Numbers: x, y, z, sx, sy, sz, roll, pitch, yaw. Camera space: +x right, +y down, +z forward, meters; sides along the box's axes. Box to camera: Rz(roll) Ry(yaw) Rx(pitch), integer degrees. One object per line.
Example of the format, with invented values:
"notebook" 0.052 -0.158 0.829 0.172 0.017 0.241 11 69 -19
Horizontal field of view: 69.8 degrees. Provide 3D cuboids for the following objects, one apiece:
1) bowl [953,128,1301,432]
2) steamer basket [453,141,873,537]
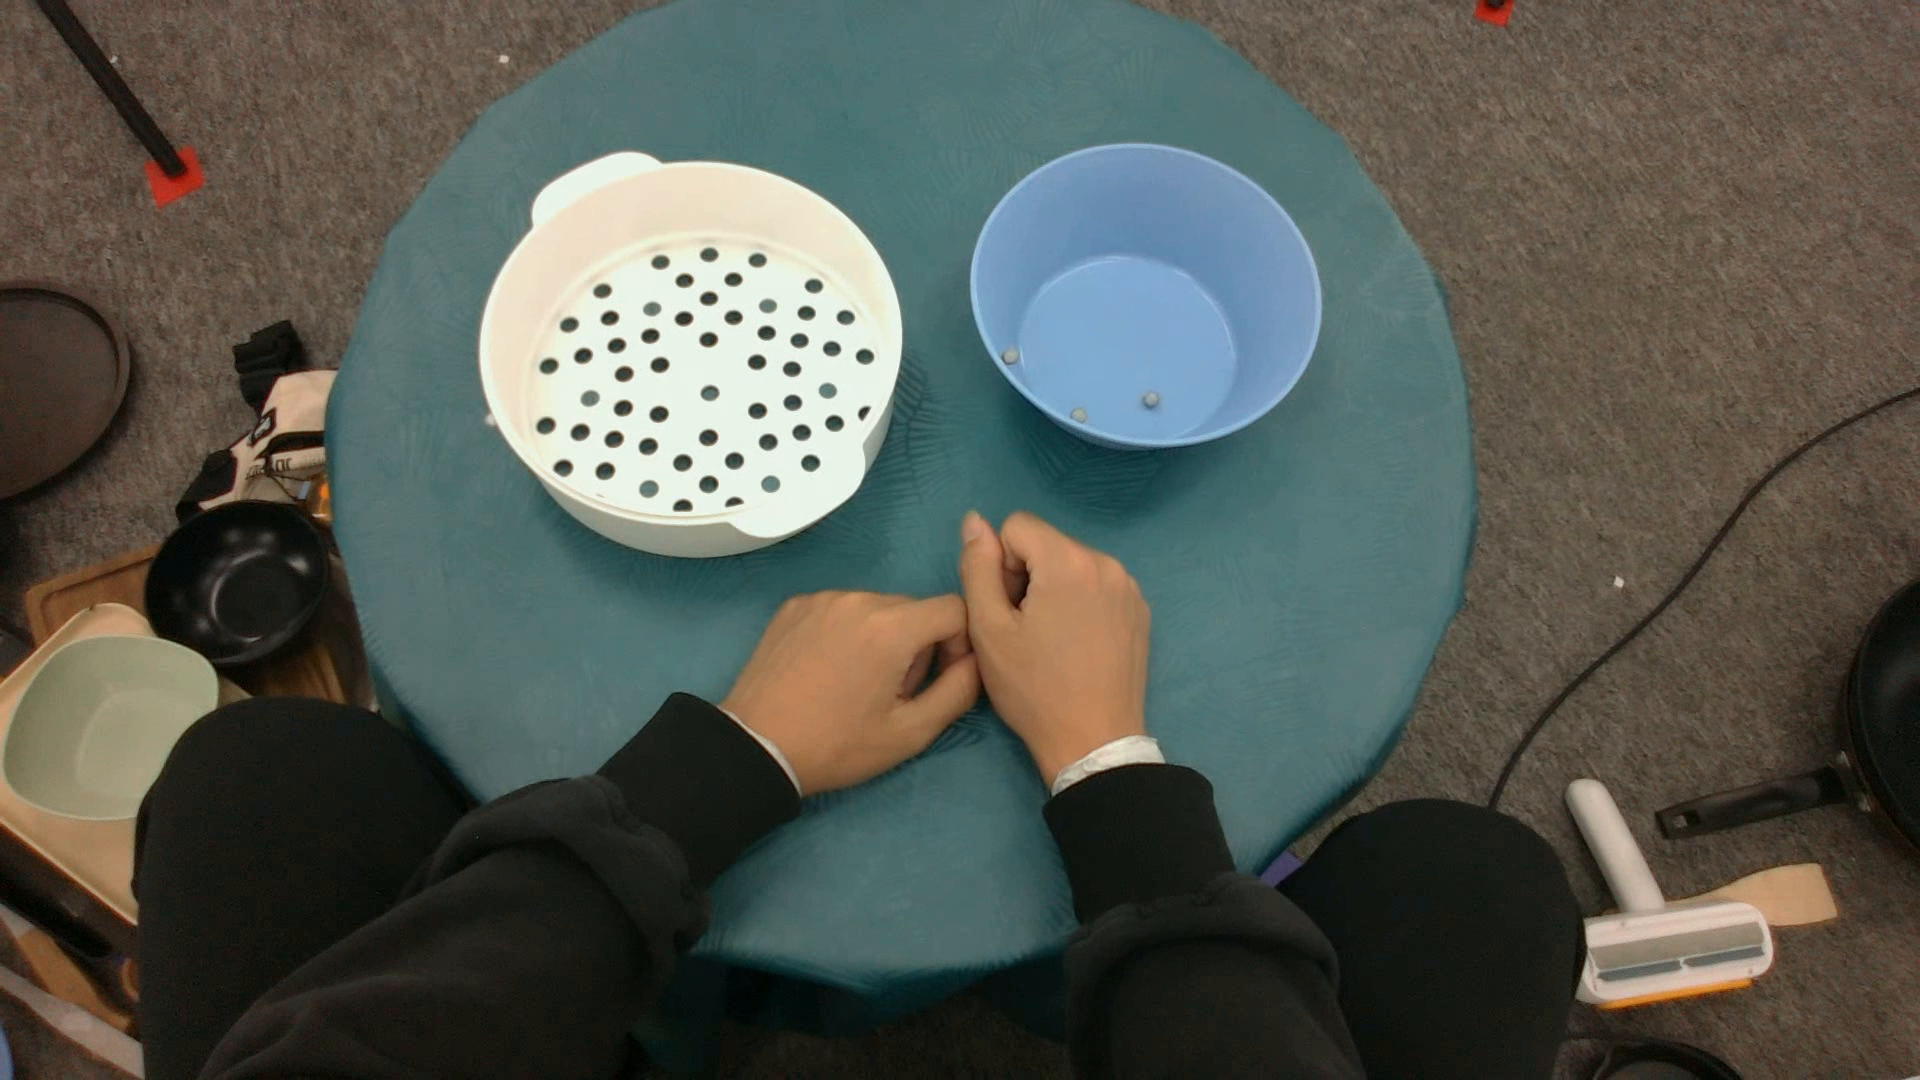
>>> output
"bowl" 0.083 -0.123 0.718 0.176 0.070 0.176 1 68 -2
"steamer basket" -0.144 -0.098 0.693 0.202 0.069 0.231 -32 71 -16
